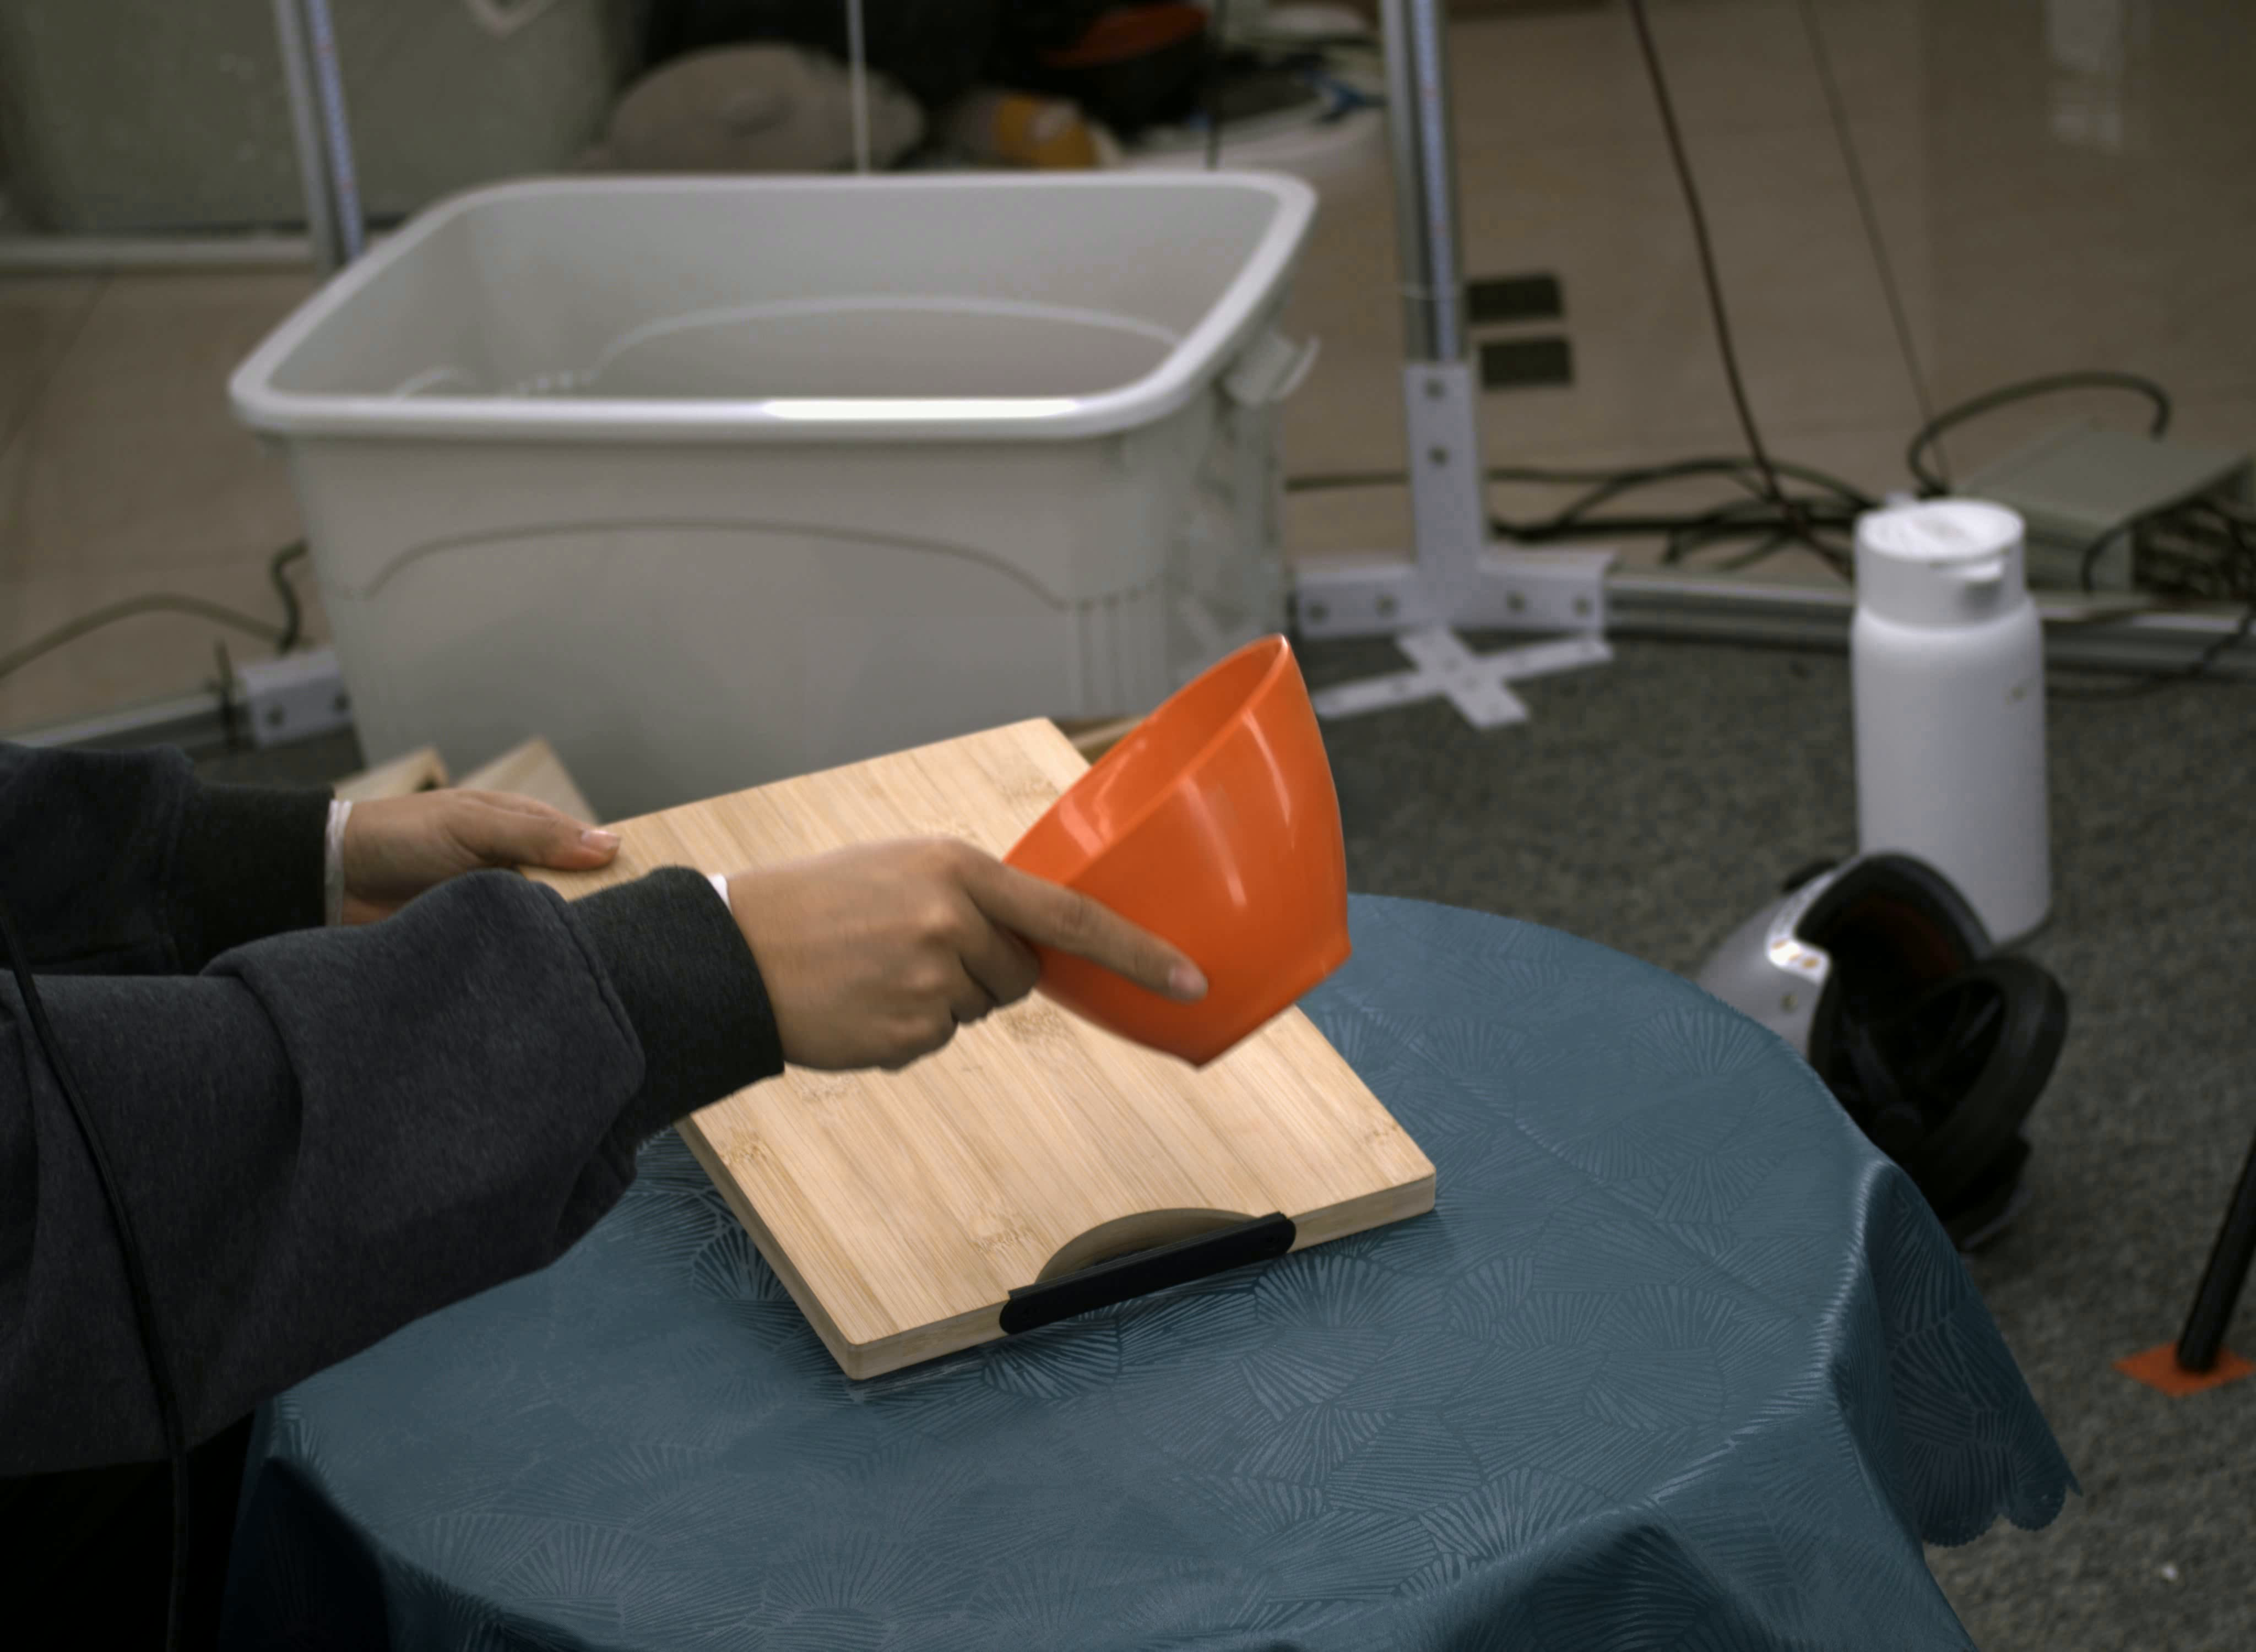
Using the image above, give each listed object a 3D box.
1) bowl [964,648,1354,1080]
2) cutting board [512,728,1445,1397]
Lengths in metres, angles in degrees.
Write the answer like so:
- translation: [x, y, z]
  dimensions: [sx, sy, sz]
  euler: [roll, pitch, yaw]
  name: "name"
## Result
- translation: [0.025, 0.021, 1.914]
  dimensions: [0.148, 0.105, 0.147]
  euler: [-36, 2, 2]
  name: "bowl"
- translation: [-0.064, 0.080, 2.179]
  dimensions: [0.249, 0.024, 0.343]
  euler: [-16, 39, -22]
  name: "cutting board"
